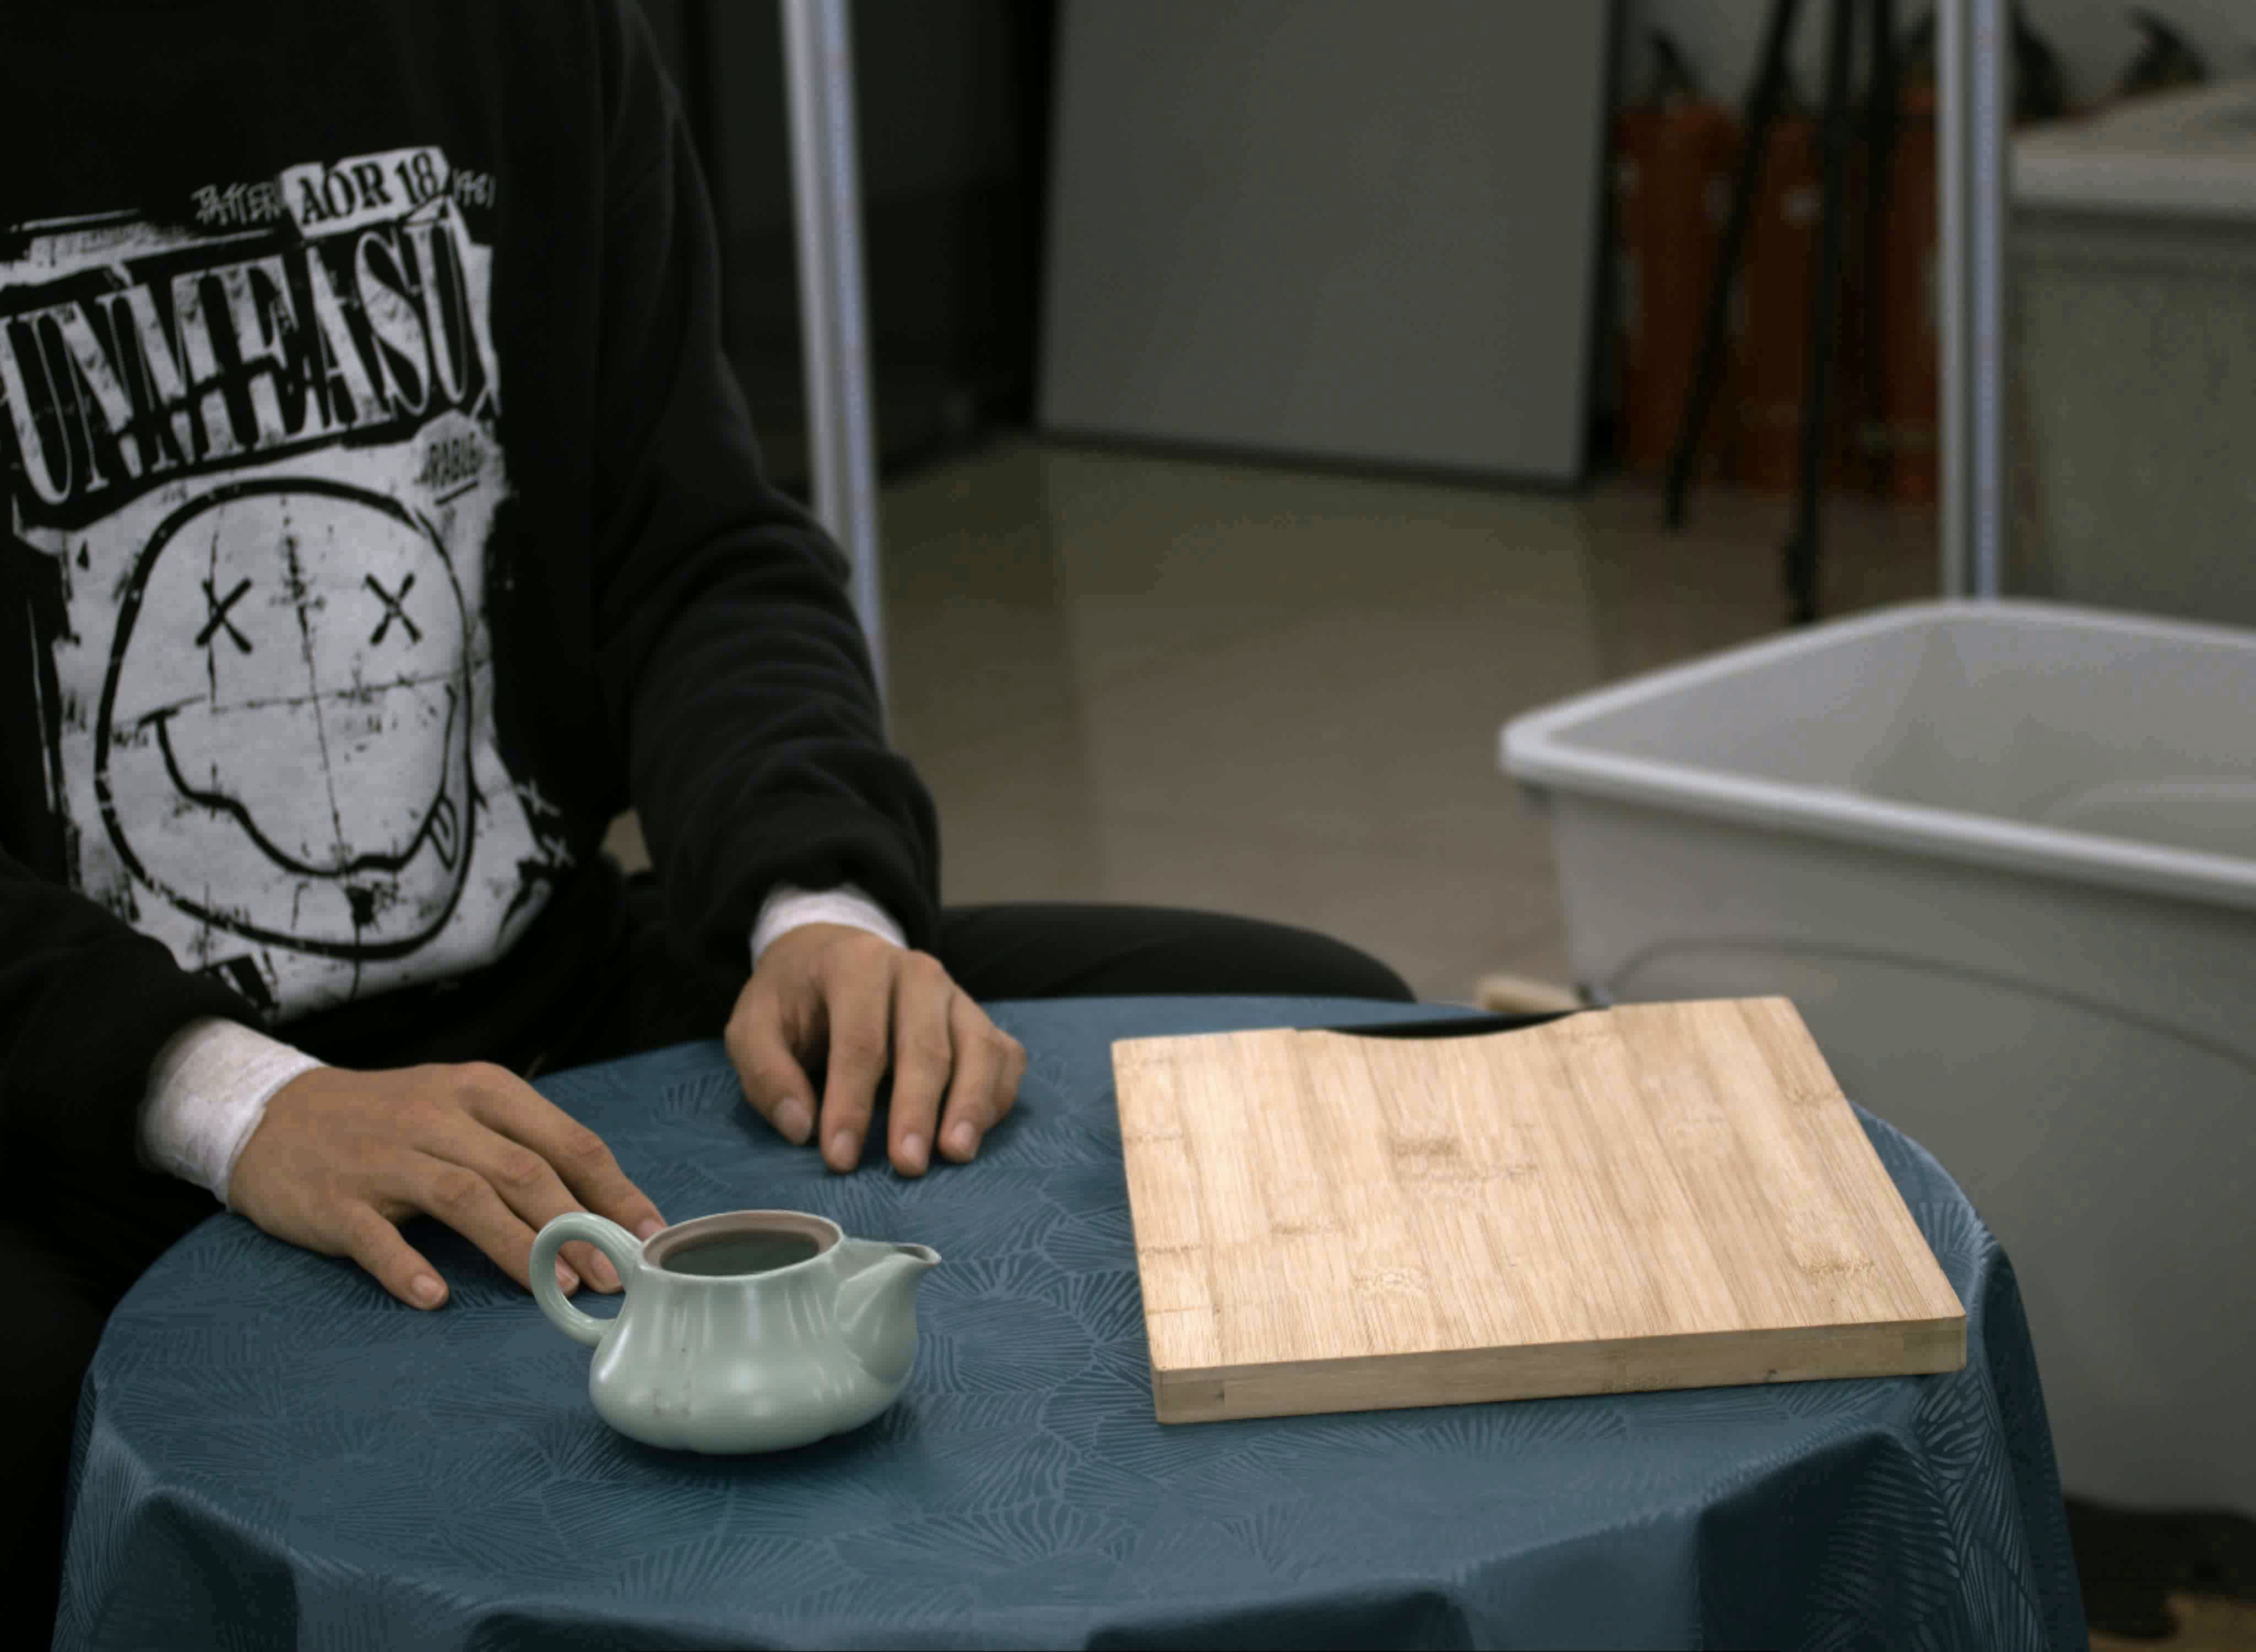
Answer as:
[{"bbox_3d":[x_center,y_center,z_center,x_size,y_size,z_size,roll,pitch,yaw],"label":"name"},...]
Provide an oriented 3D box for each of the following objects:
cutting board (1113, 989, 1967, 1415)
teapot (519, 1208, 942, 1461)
[{"bbox_3d":[0.120,0.116,1.725,0.247,0.024,0.349,-5,14,-1],"label":"cutting board"},{"bbox_3d":[-0.115,0.147,1.579,0.137,0.062,0.095,2,16,23],"label":"teapot"}]
